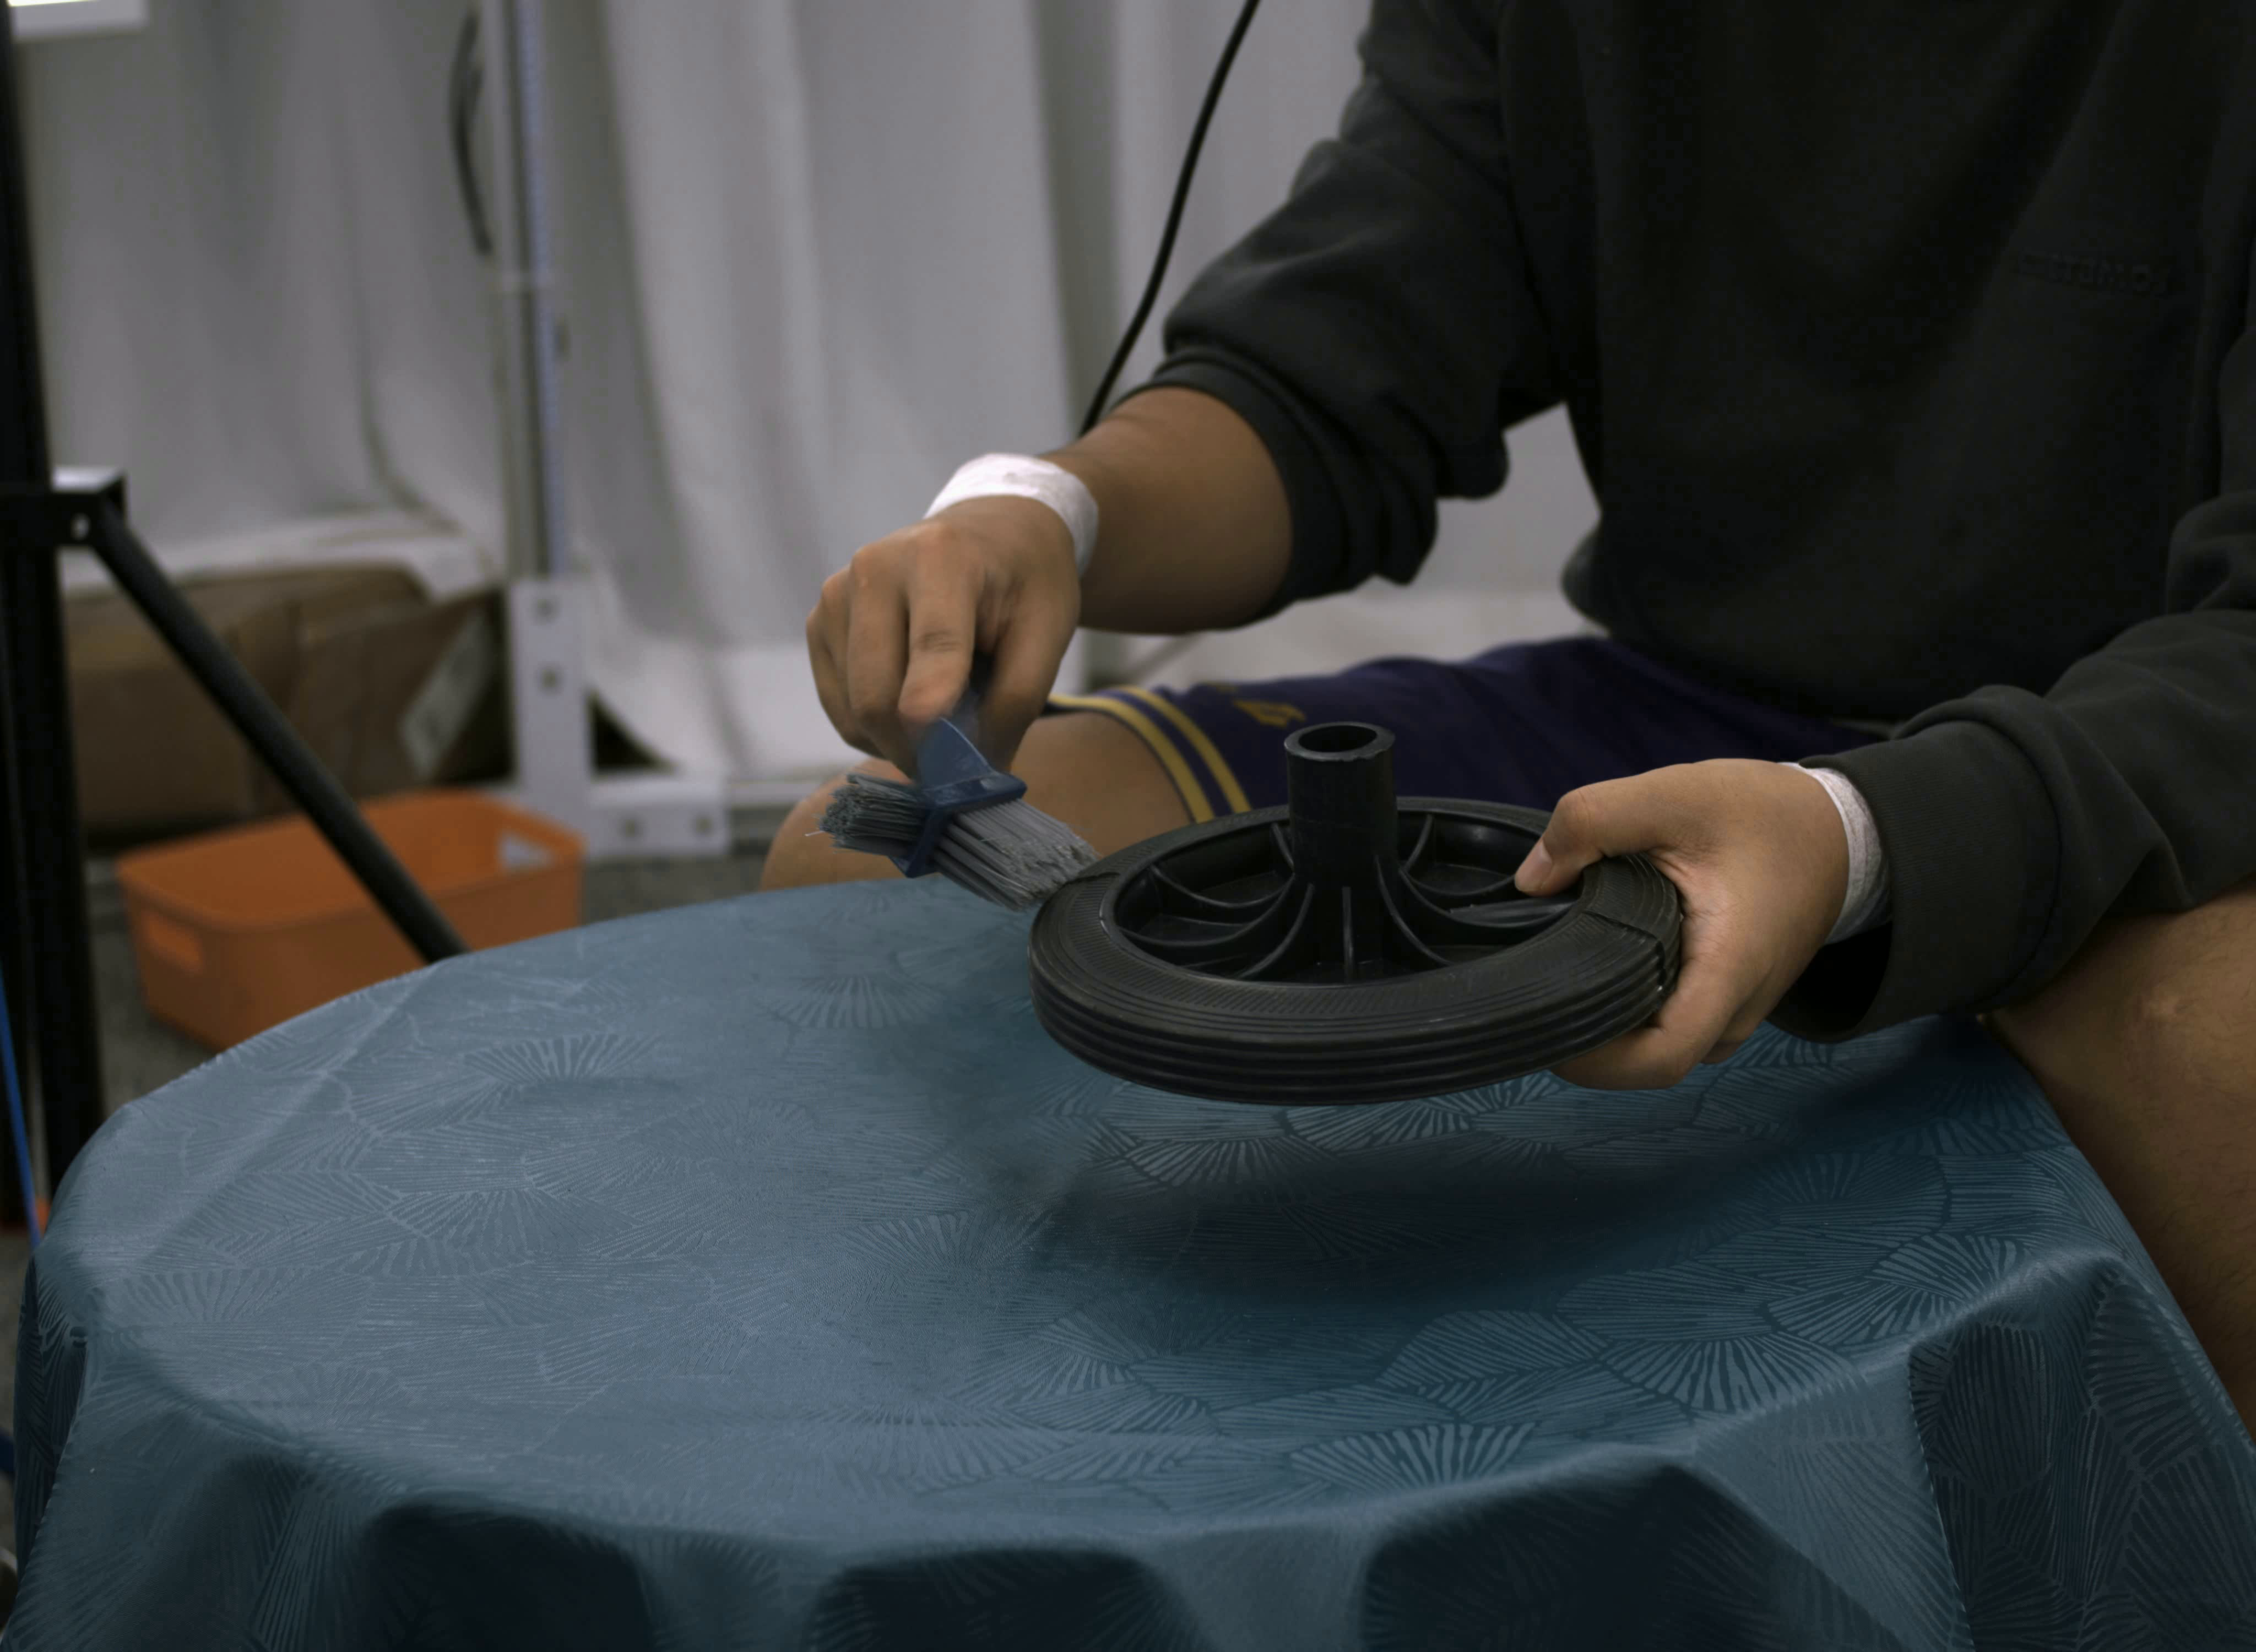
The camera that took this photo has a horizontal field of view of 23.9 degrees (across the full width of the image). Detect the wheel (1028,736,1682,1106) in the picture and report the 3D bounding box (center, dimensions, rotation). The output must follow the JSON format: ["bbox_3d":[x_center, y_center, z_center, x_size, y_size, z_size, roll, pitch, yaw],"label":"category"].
[{"bbox_3d":[0.064,0.016,1.516,0.186,0.079,0.191,-15,22,-26],"label":"wheel"}]

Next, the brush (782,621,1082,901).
[{"bbox_3d":[-0.061,-0.028,1.657,0.094,0.033,0.275,23,13,-10],"label":"brush"}]
